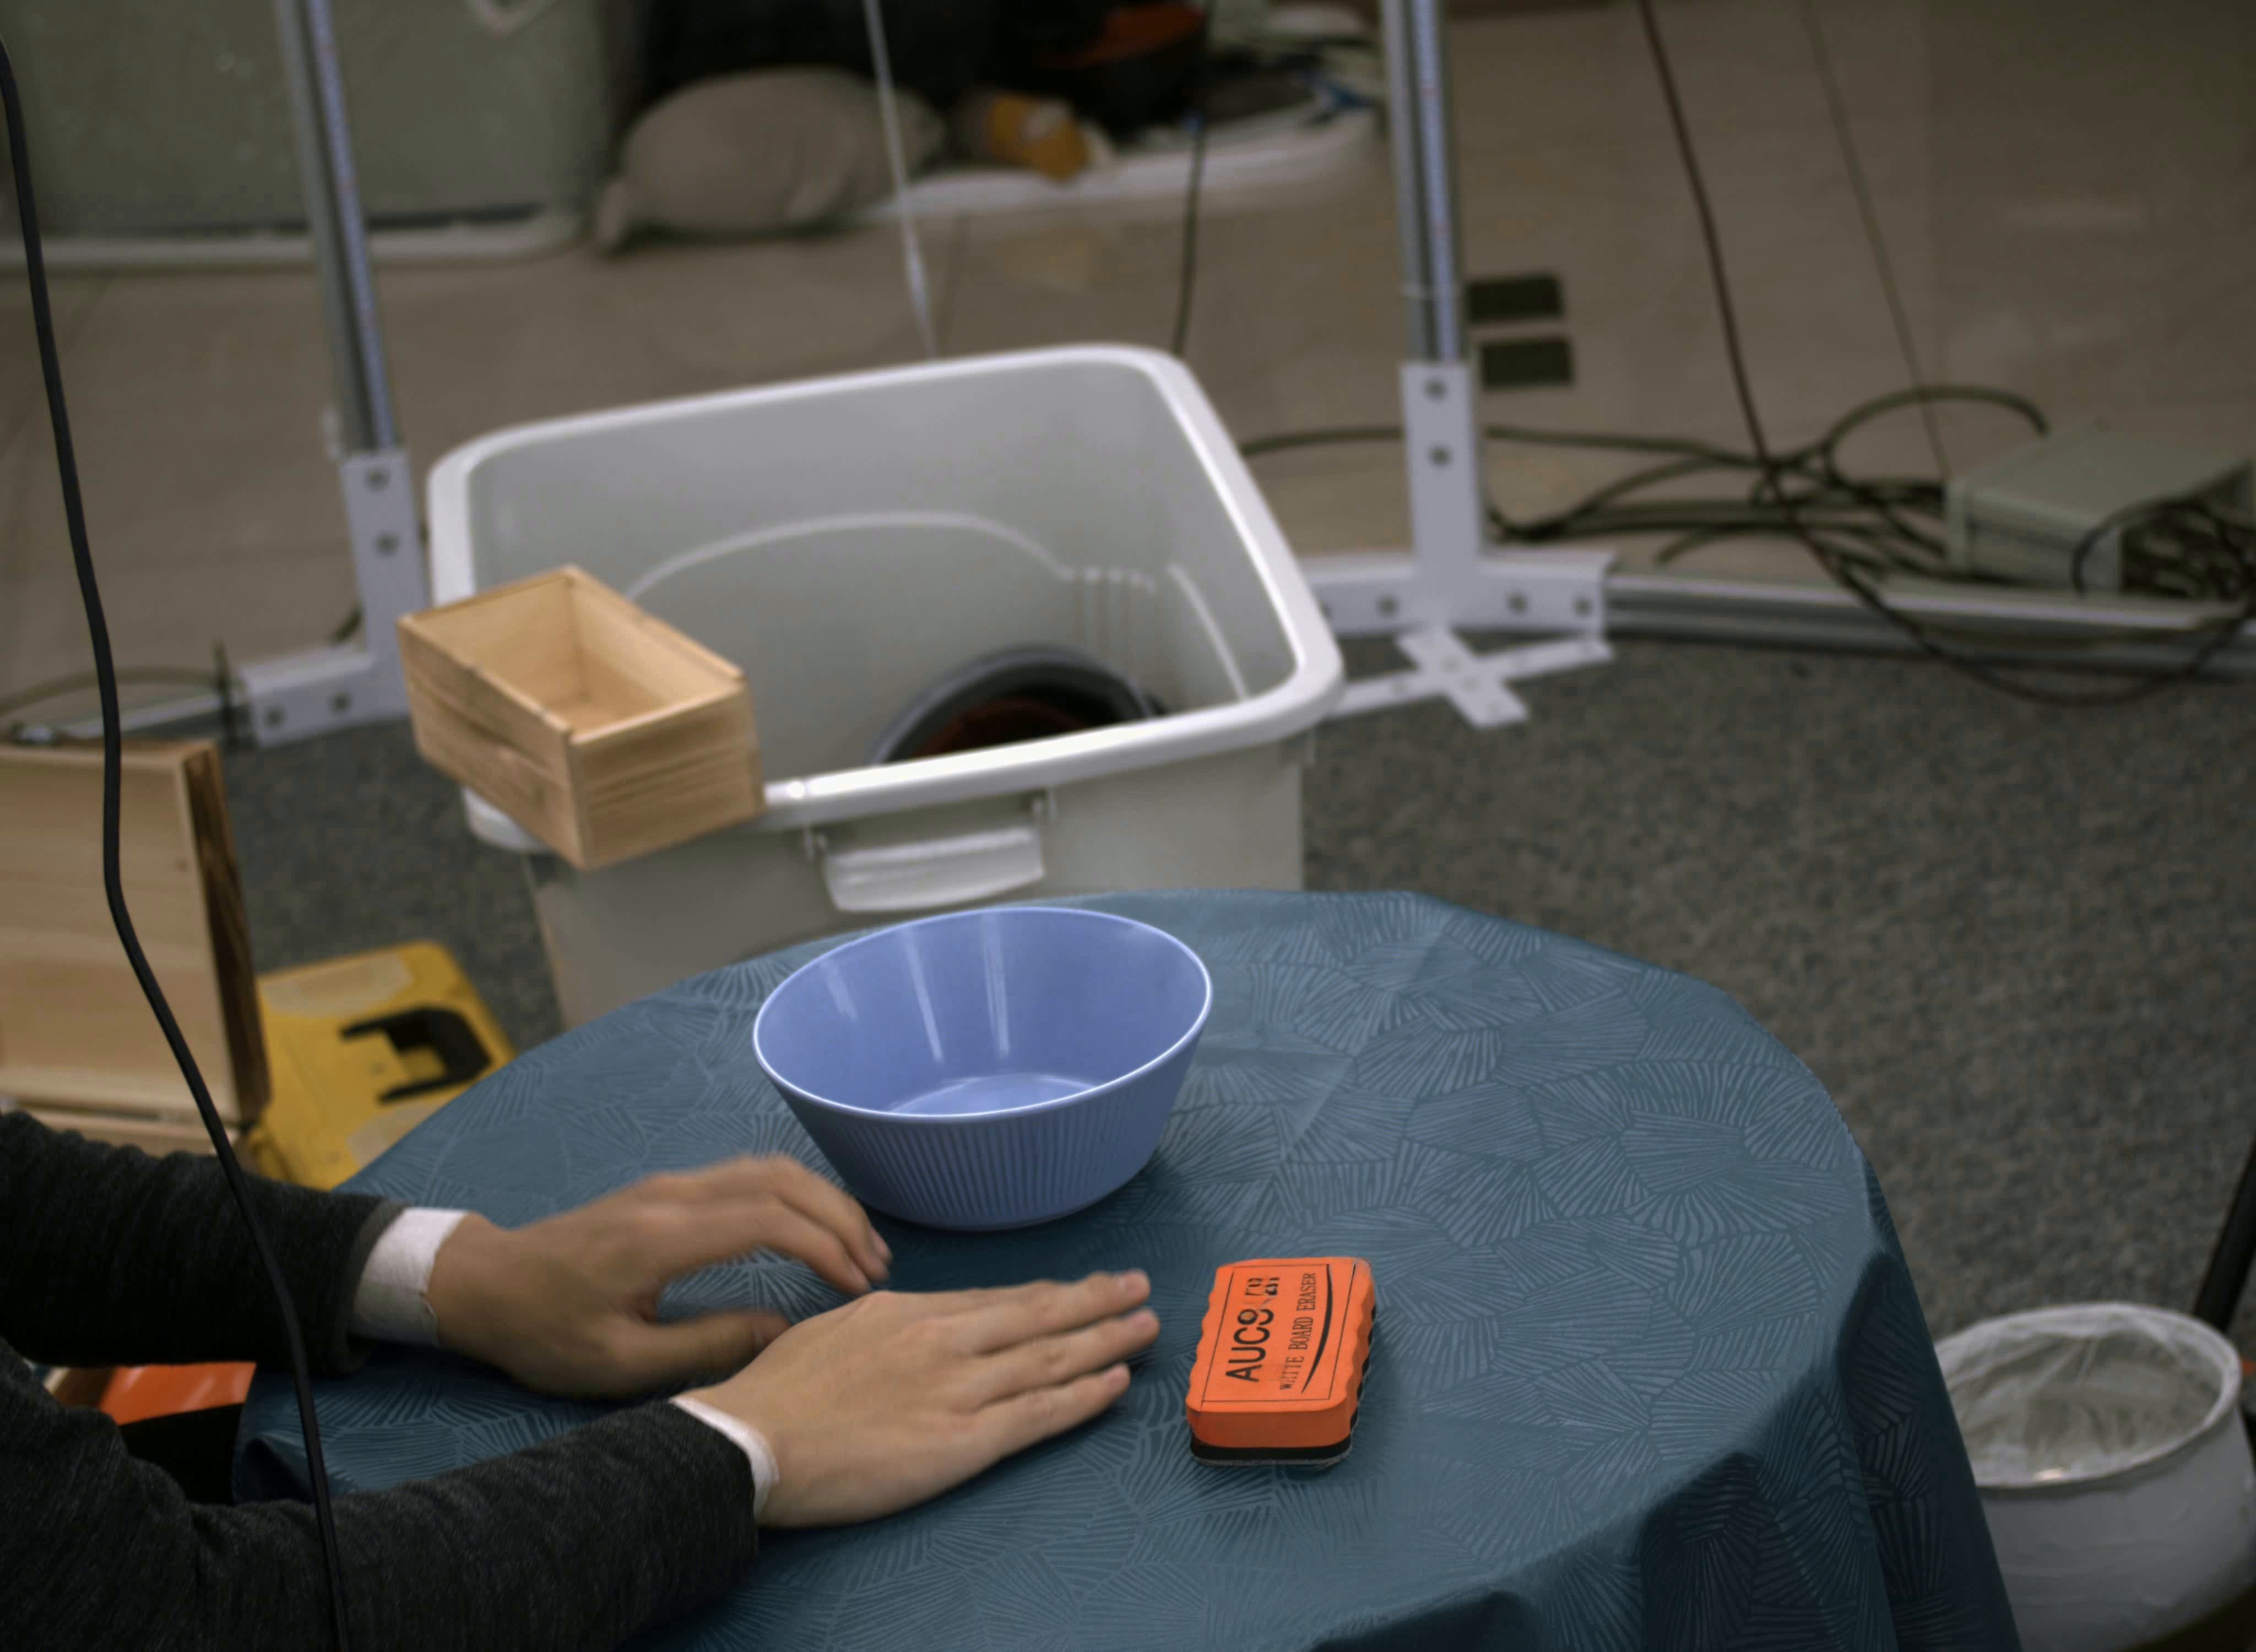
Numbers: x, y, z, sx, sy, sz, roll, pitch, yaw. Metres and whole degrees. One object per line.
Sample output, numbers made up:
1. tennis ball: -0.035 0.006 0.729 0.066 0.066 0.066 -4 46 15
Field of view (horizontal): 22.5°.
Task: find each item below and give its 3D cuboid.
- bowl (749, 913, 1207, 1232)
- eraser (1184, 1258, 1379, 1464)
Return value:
1. bowl: -0.054 0.099 2.163 0.176 0.071 0.173 -5 25 3
2. eraser: 0.055 0.188 2.002 0.059 0.023 0.106 -1 26 10
